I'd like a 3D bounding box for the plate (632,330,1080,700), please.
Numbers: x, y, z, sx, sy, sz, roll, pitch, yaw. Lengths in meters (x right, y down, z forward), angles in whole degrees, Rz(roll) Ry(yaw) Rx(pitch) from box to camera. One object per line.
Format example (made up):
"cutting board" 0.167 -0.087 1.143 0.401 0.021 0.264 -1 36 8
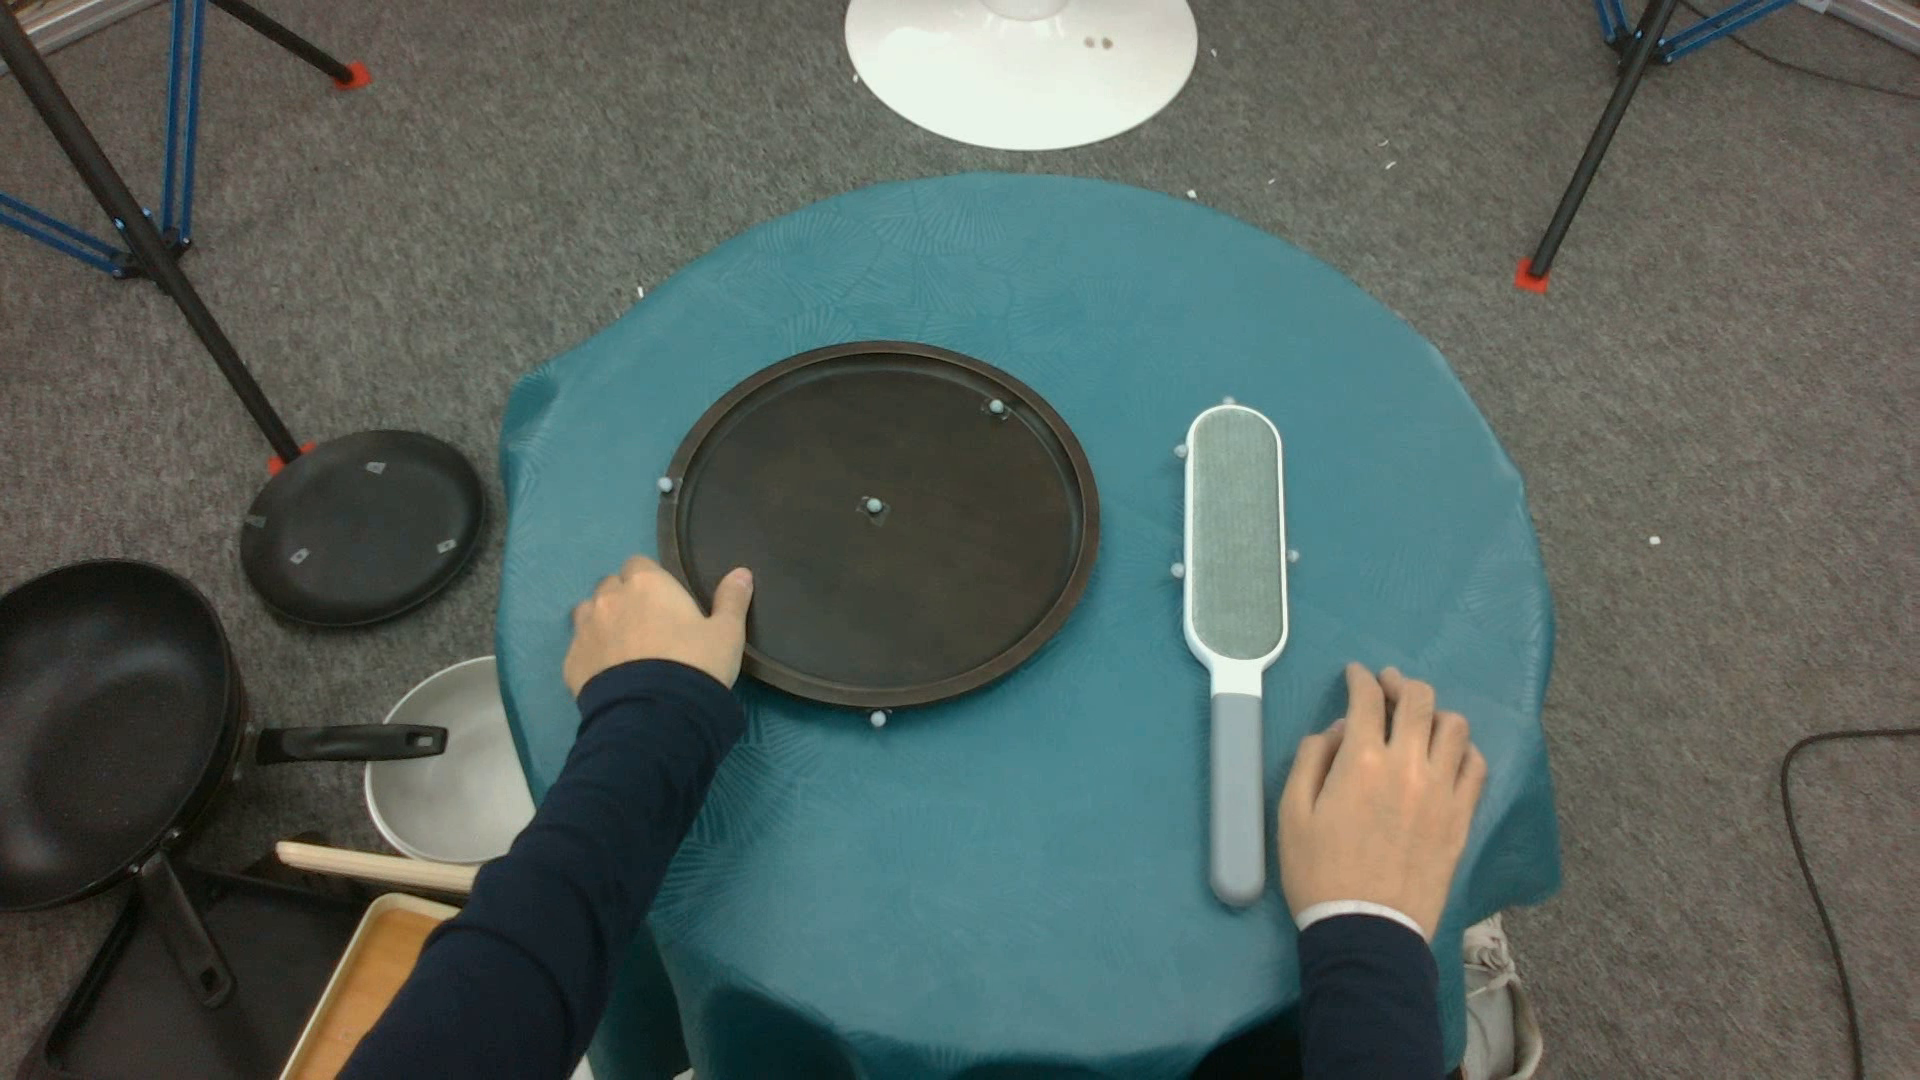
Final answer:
"plate" -0.057 -0.021 0.789 0.255 0.029 0.256 1 56 -1

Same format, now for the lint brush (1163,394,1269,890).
"lint brush" 0.140 0.041 0.758 0.060 0.021 0.310 9 56 -3
